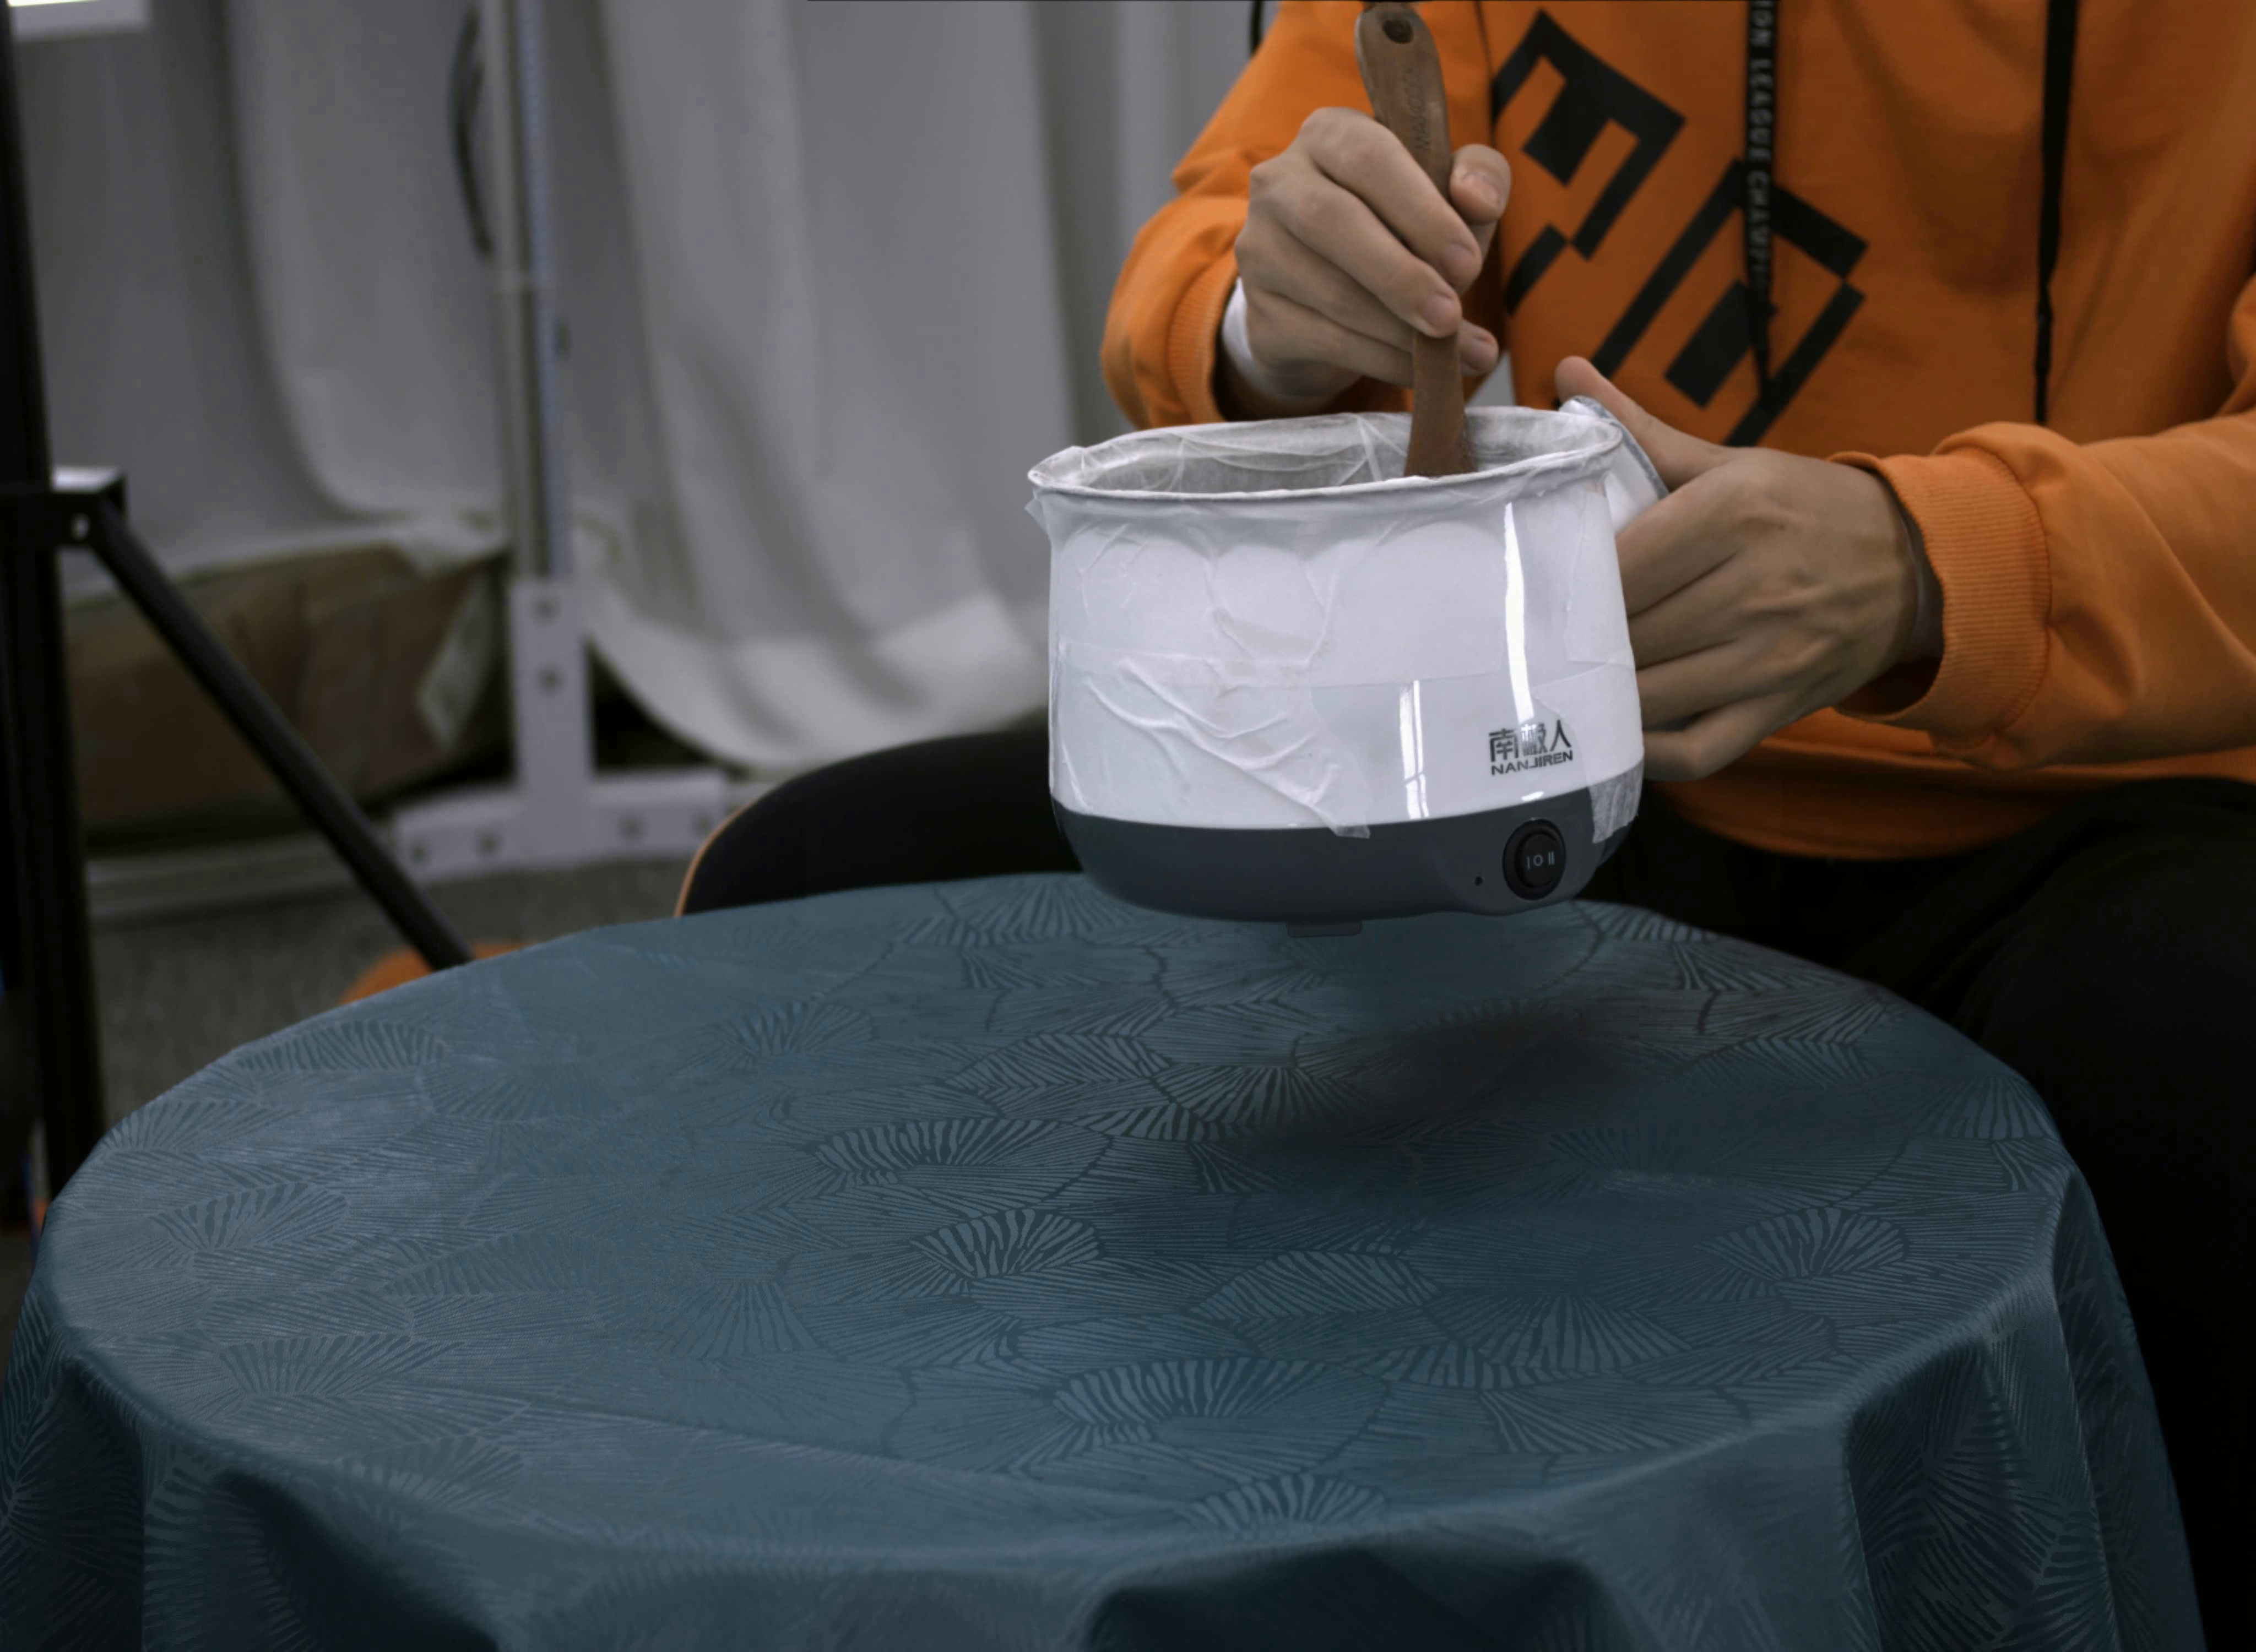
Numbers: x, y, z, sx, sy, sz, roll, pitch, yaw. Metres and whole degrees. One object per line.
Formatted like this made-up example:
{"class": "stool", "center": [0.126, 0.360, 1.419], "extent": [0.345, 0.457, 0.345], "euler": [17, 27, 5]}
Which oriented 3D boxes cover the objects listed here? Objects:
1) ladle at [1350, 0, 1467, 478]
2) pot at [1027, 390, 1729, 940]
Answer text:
{"class": "ladle", "center": [0.094, -0.158, 1.624], "extent": [0.075, 0.263, 0.065], "euler": [3, -28, -12]}
{"class": "pot", "center": [0.084, -0.053, 1.594], "extent": [0.228, 0.137, 0.183], "euler": [-12, 13, -35]}
